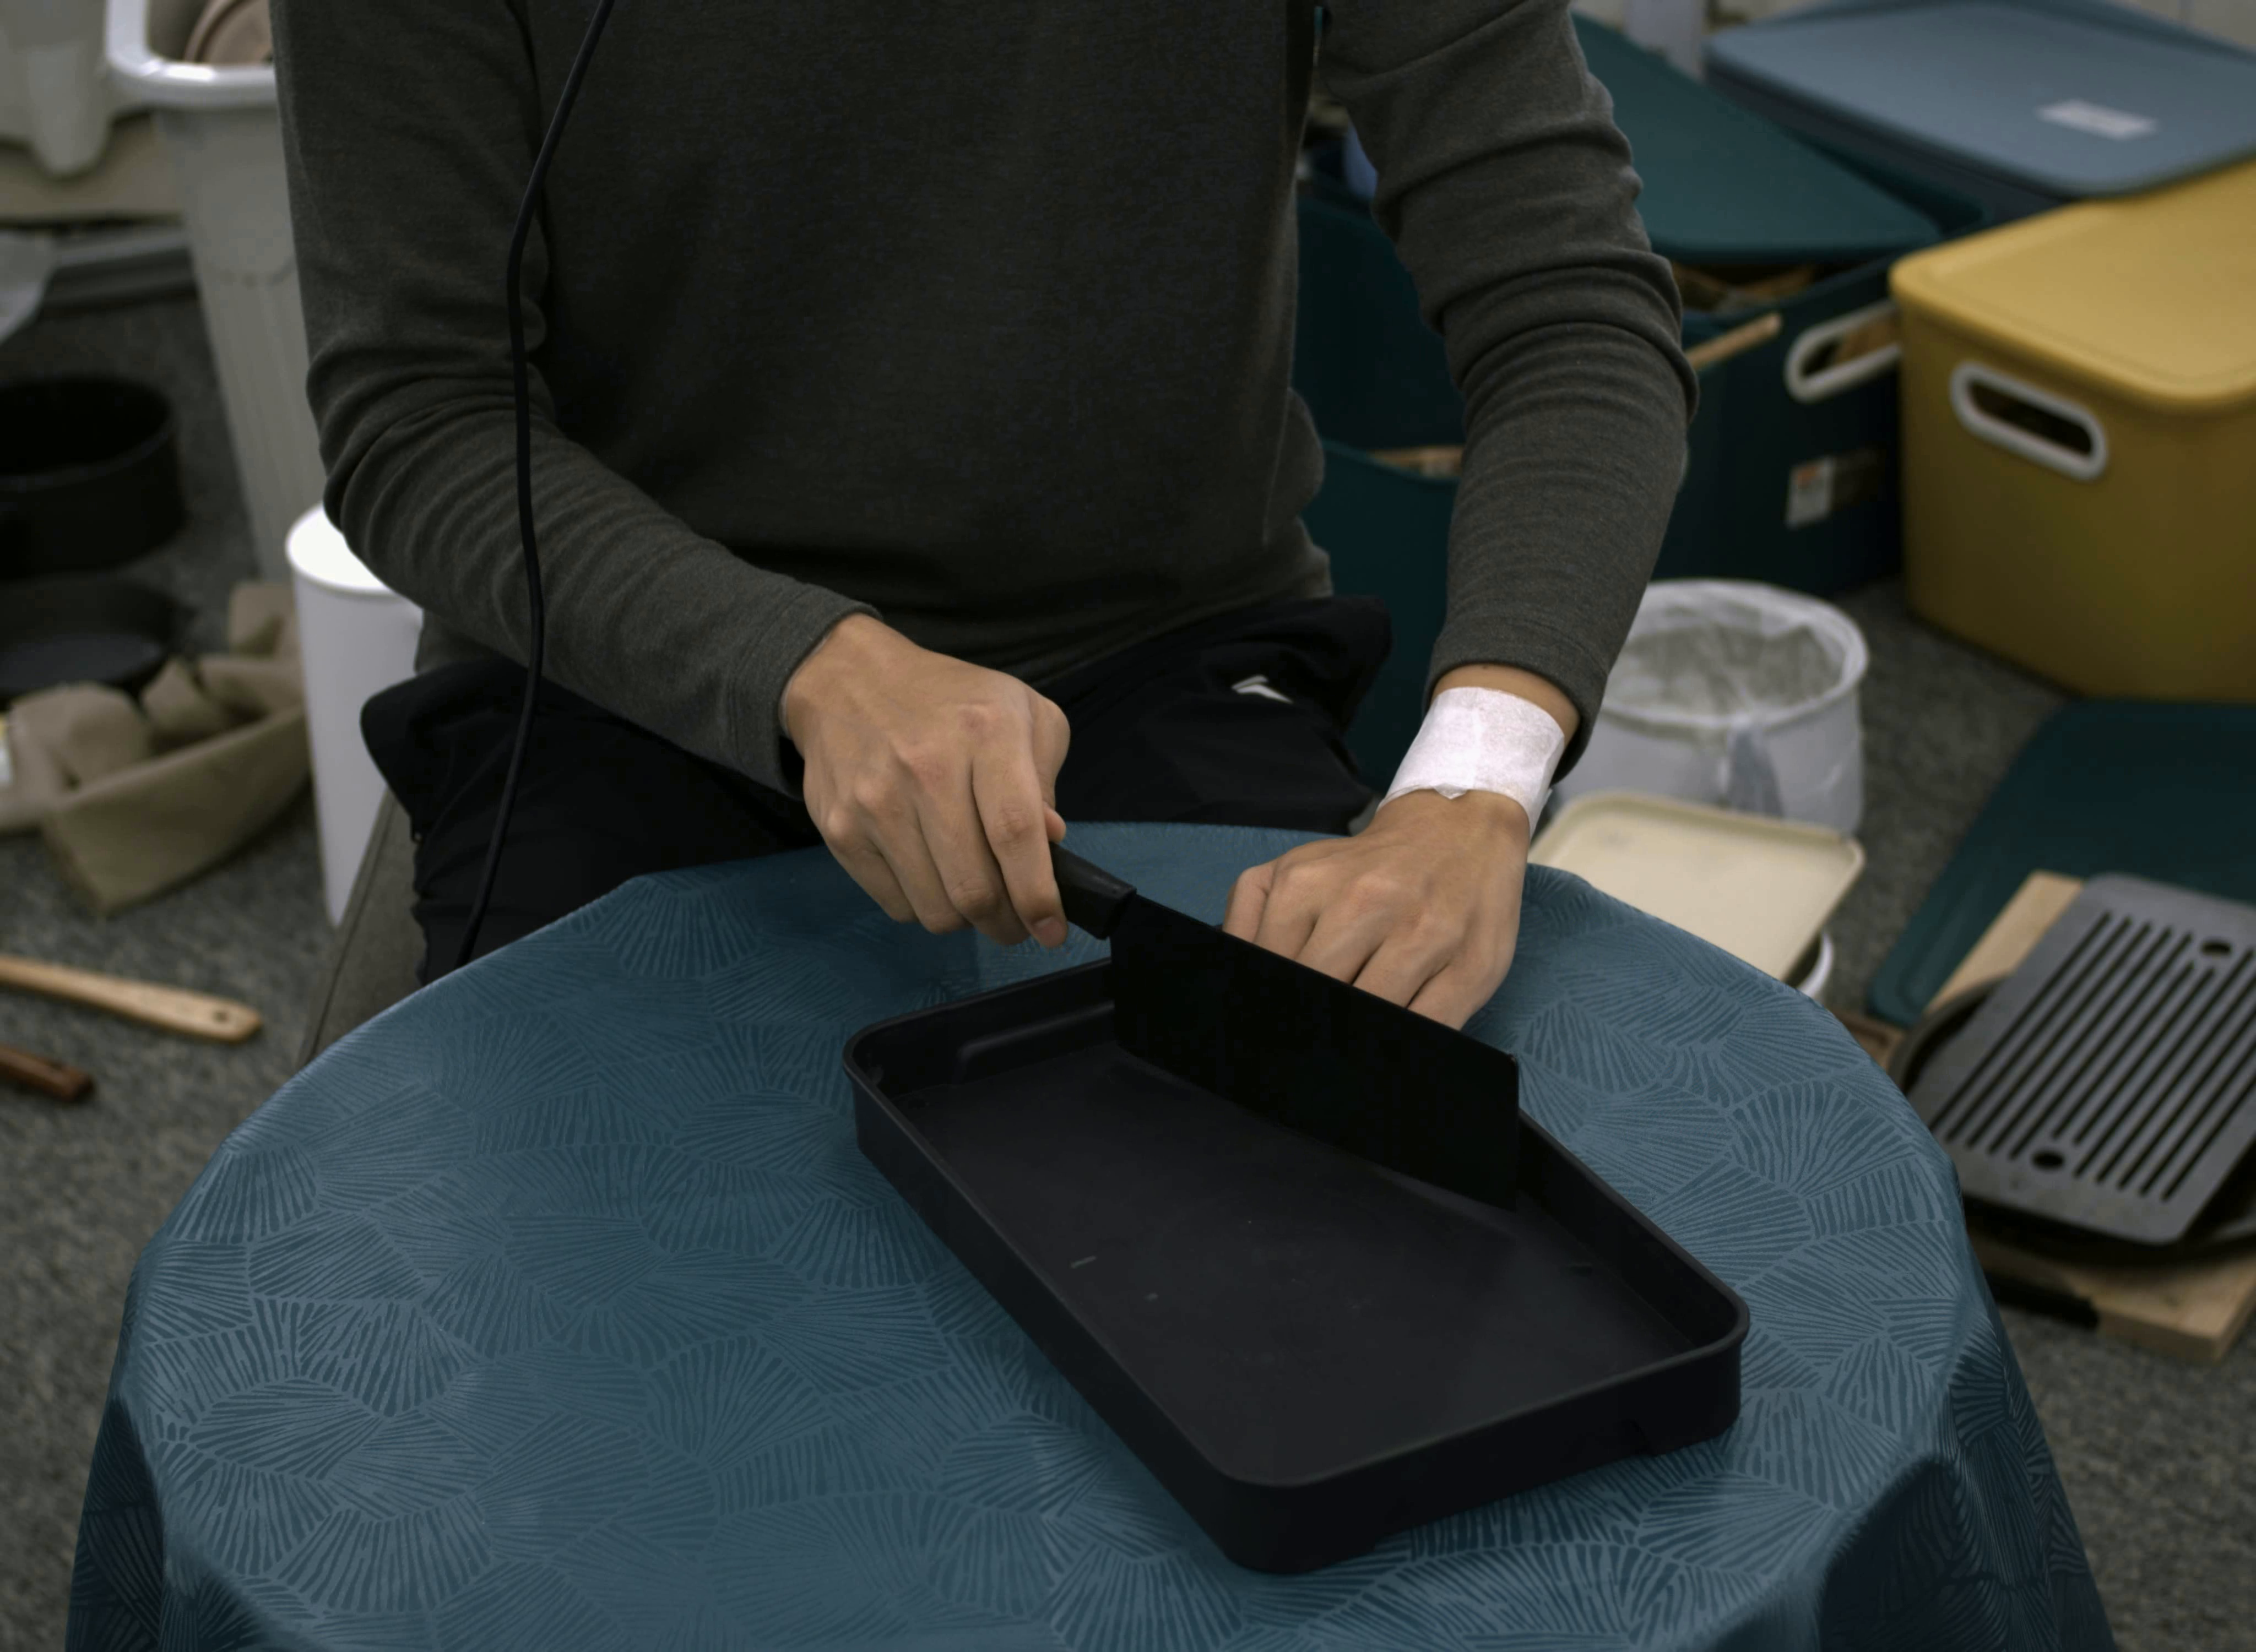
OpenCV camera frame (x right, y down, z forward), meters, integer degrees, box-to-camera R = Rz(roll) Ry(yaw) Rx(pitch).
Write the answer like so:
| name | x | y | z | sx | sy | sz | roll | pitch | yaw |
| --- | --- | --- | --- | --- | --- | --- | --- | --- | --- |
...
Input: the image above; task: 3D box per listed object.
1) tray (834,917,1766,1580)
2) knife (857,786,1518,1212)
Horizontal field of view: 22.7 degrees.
| name | x | y | z | sx | sy | sz | roll | pitch | yaw |
| --- | --- | --- | --- | --- | --- | --- | --- | --- | --- |
| tray | 0.049 | 0.128 | 1.804 | 0.185 | 0.036 | 0.319 | -16 | 30 | -24 |
| knife | 0.017 | 0.053 | 1.895 | 0.302 | 0.080 | 0.021 | 27 | 37 | 36 |
